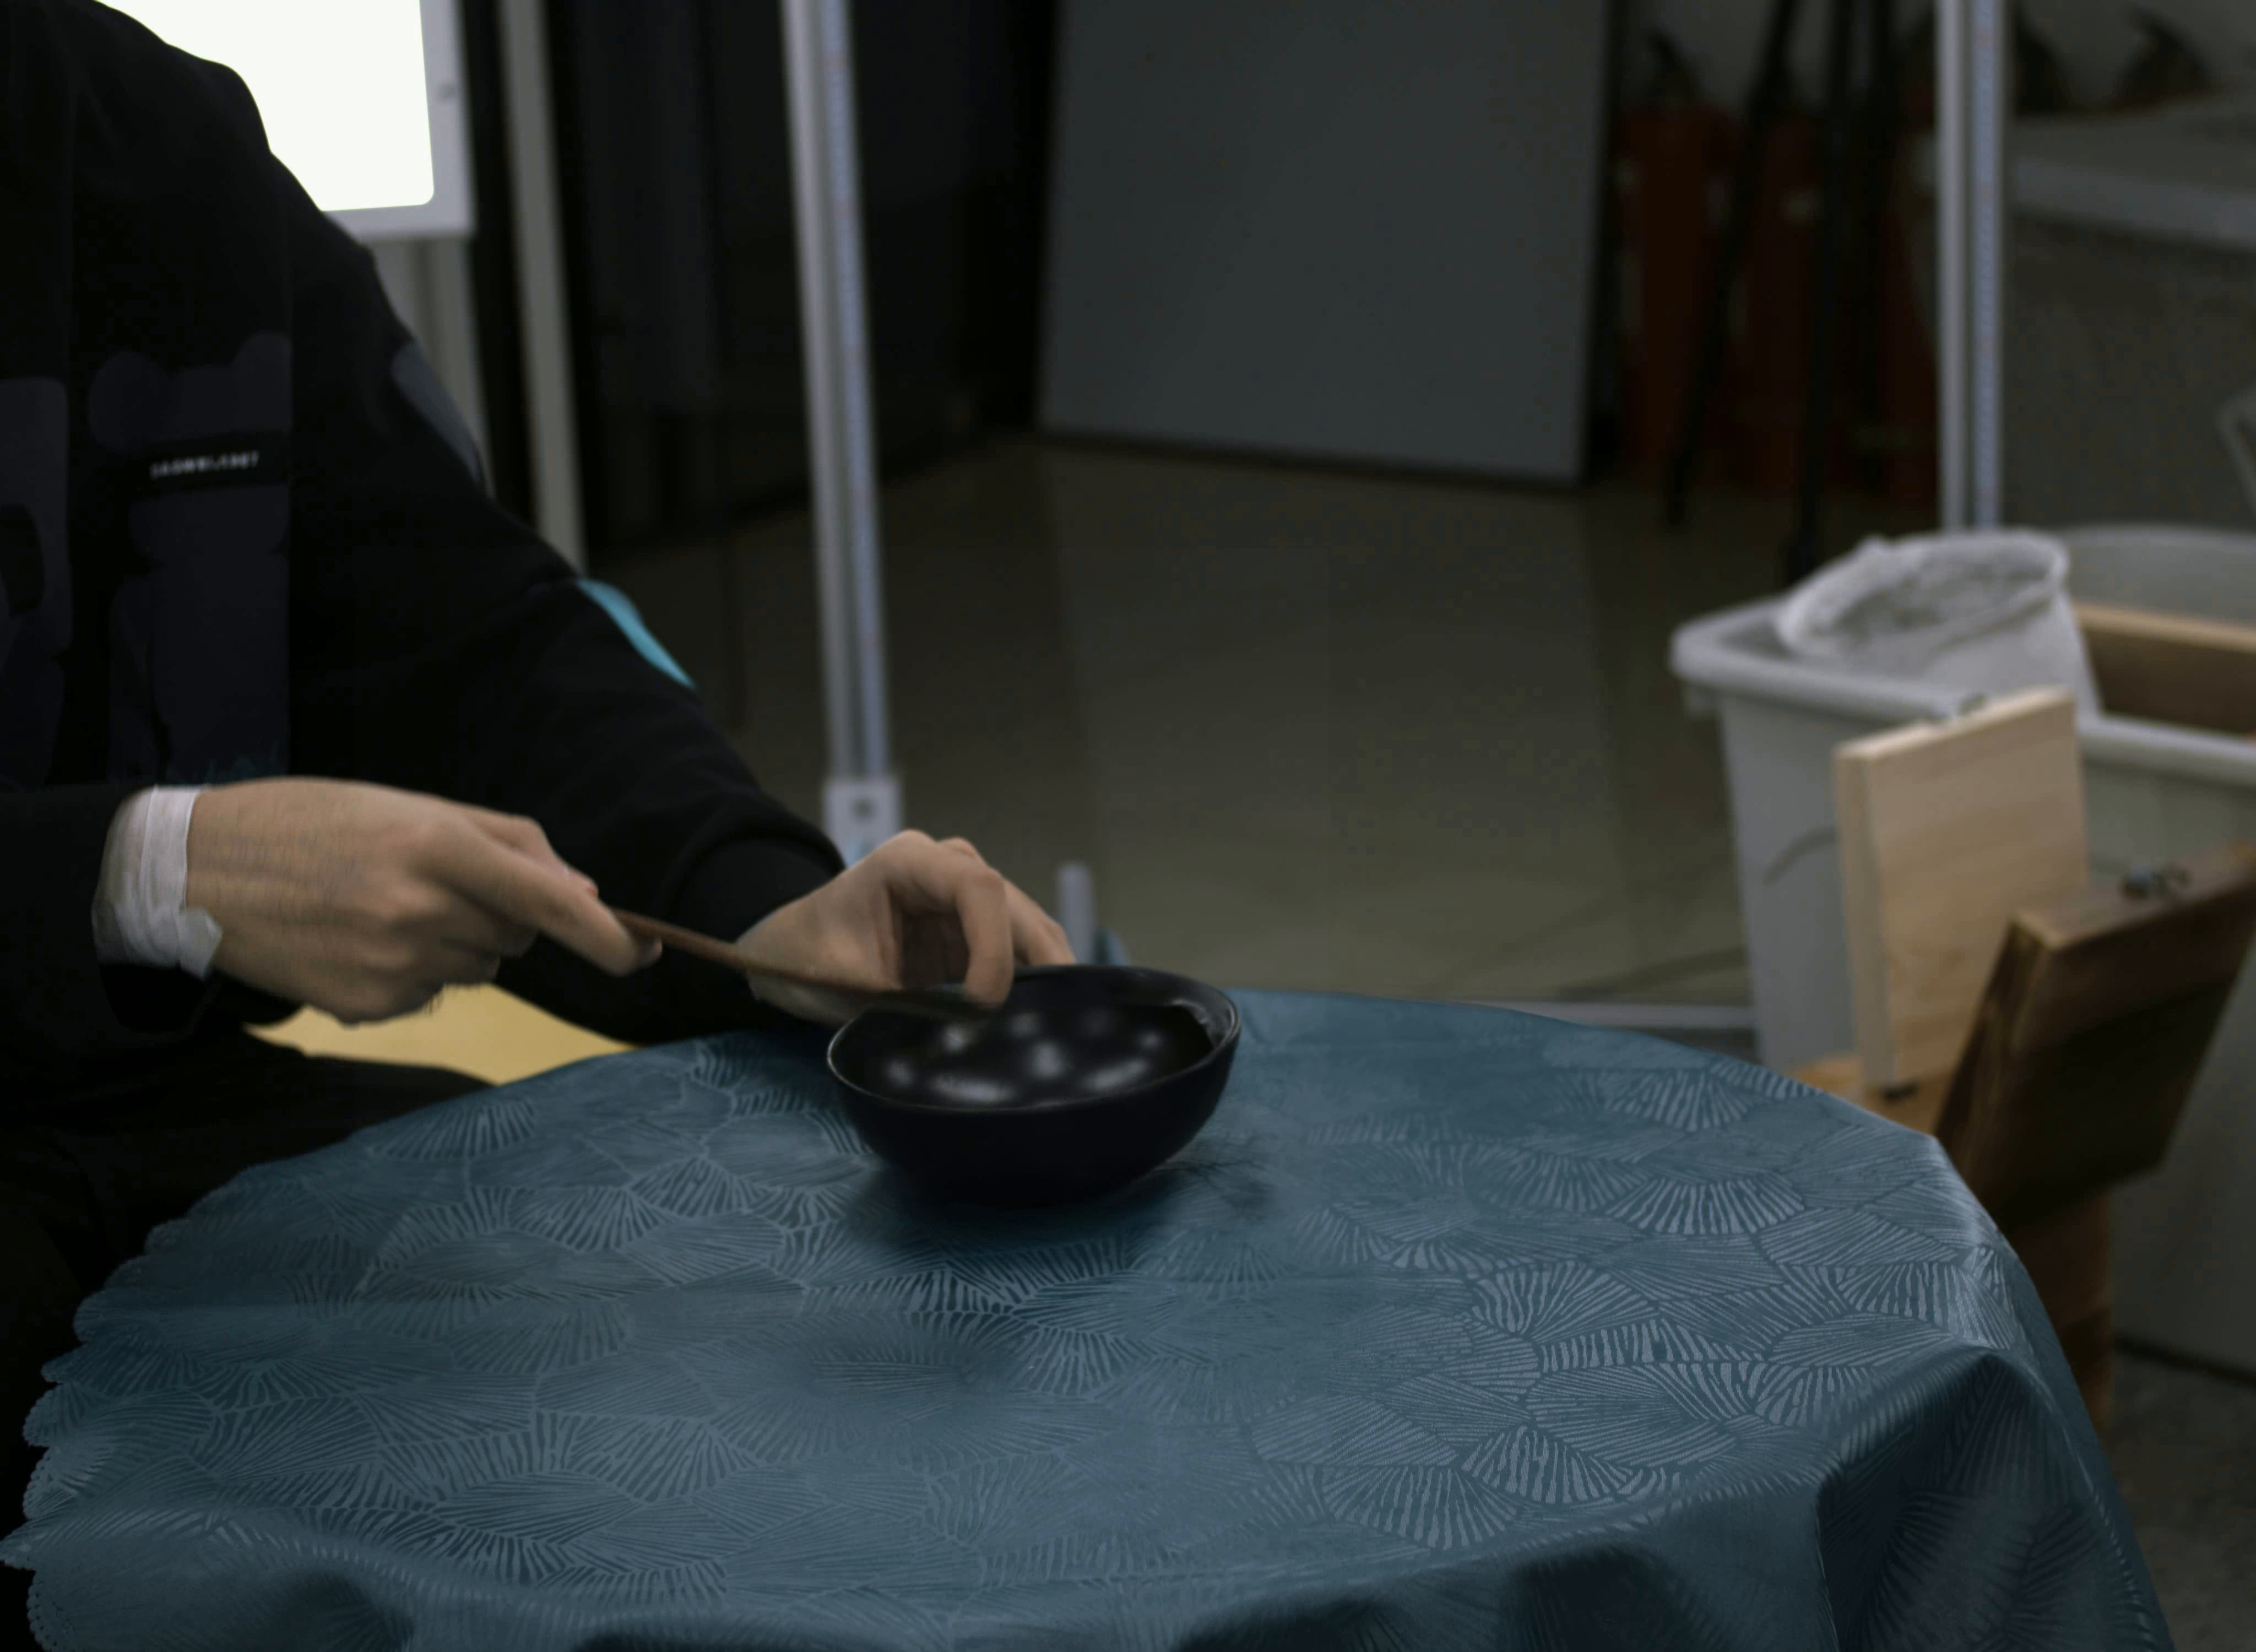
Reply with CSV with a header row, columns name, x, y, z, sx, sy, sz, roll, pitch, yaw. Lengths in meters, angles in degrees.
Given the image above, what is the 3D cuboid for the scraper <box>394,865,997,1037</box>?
name,x,y,z,sx,sy,sz,roll,pitch,yaw
scraper,-0.141,0.039,1.694,0.212,0.011,0.074,15,-2,28

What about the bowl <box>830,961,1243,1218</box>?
name,x,y,z,sx,sy,sz,roll,pitch,yaw
bowl,-0.028,0.093,1.785,0.138,0.050,0.140,-7,19,2
